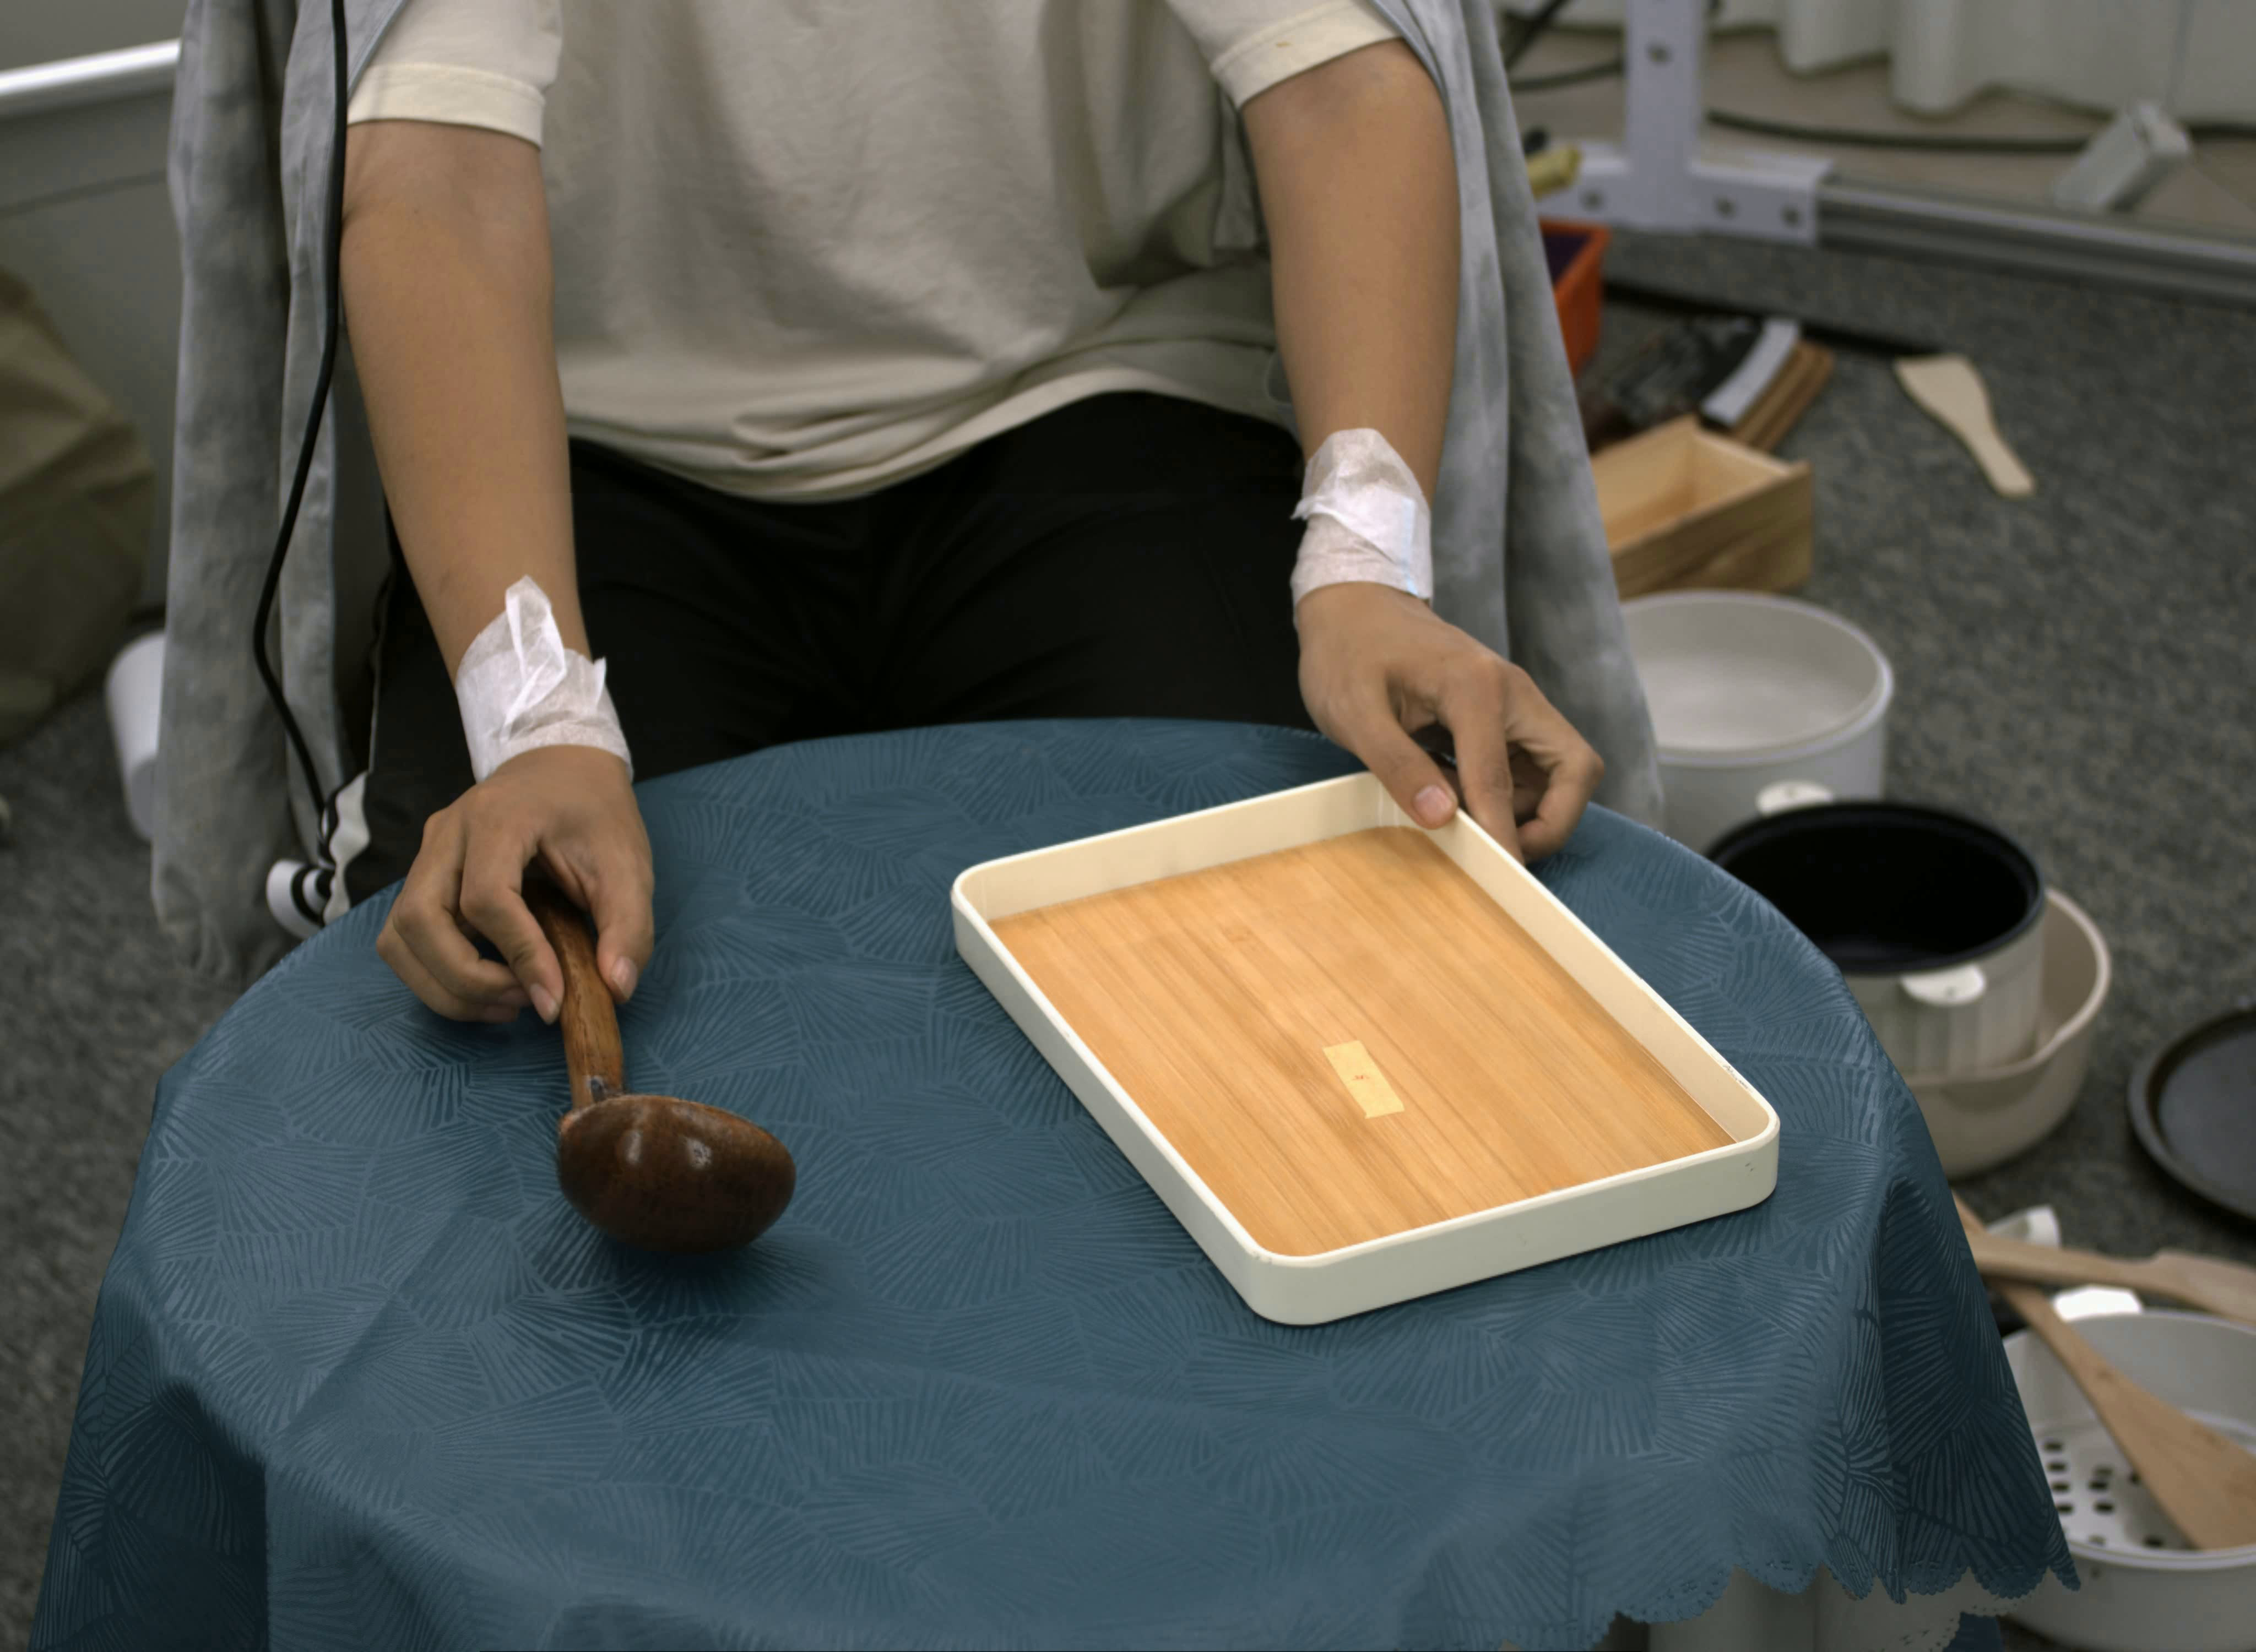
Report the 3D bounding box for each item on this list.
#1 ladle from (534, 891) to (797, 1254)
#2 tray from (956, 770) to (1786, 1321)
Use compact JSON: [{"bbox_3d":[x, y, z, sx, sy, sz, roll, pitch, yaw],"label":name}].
[{"bbox_3d":[-0.168,0.064,1.907,0.081,0.076,0.277,29,18,-22],"label":"ladle"},{"bbox_3d":[0.077,0.069,1.924,0.192,0.027,0.302,-13,29,-18],"label":"tray"}]
